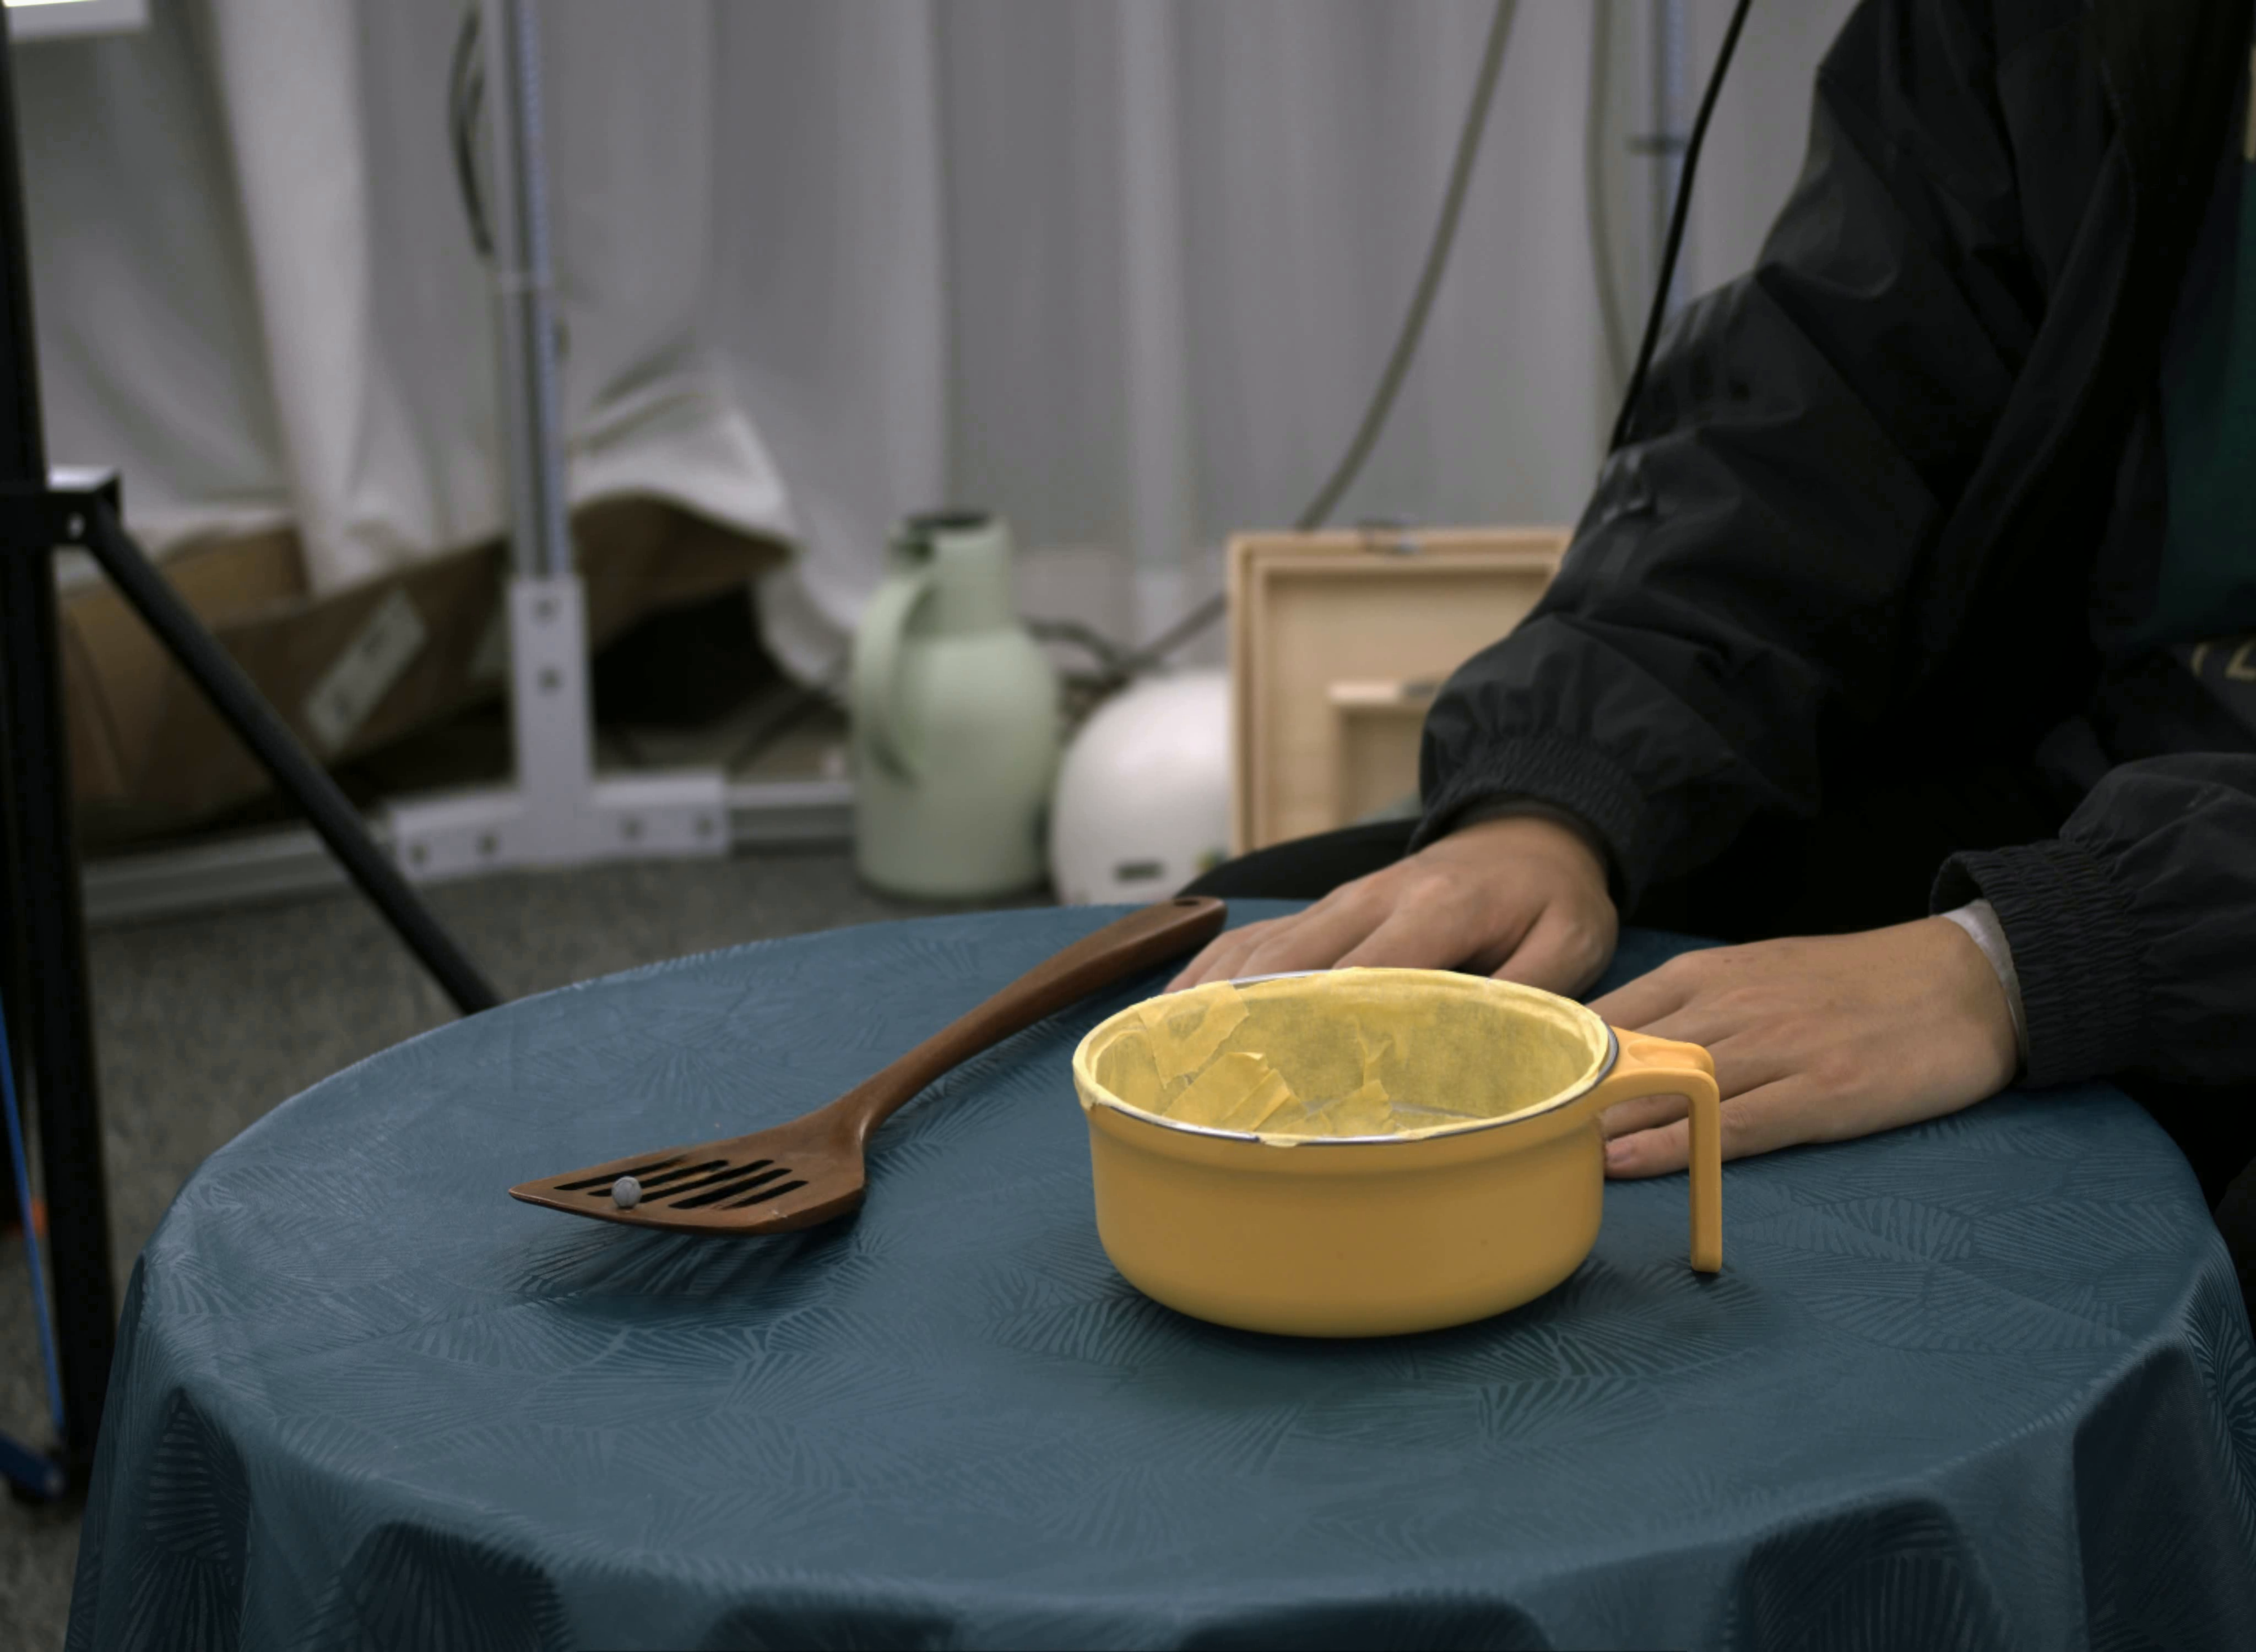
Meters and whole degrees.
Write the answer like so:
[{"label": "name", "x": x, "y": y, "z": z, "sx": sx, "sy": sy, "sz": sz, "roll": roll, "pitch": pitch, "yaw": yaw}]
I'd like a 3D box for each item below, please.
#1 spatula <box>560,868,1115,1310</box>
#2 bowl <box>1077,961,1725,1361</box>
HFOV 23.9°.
[{"label": "spatula", "x": -0.071, "y": 0.078, "z": 1.660, "sx": 0.086, "sy": 0.024, "sz": 0.383, "roll": 11, "pitch": 21, "yaw": 15}, {"label": "bowl", "x": 0.076, "y": 0.096, "z": 1.476, "sx": 0.178, "sy": 0.074, "sz": 0.154, "roll": -3, "pitch": 16, "yaw": -1}]
